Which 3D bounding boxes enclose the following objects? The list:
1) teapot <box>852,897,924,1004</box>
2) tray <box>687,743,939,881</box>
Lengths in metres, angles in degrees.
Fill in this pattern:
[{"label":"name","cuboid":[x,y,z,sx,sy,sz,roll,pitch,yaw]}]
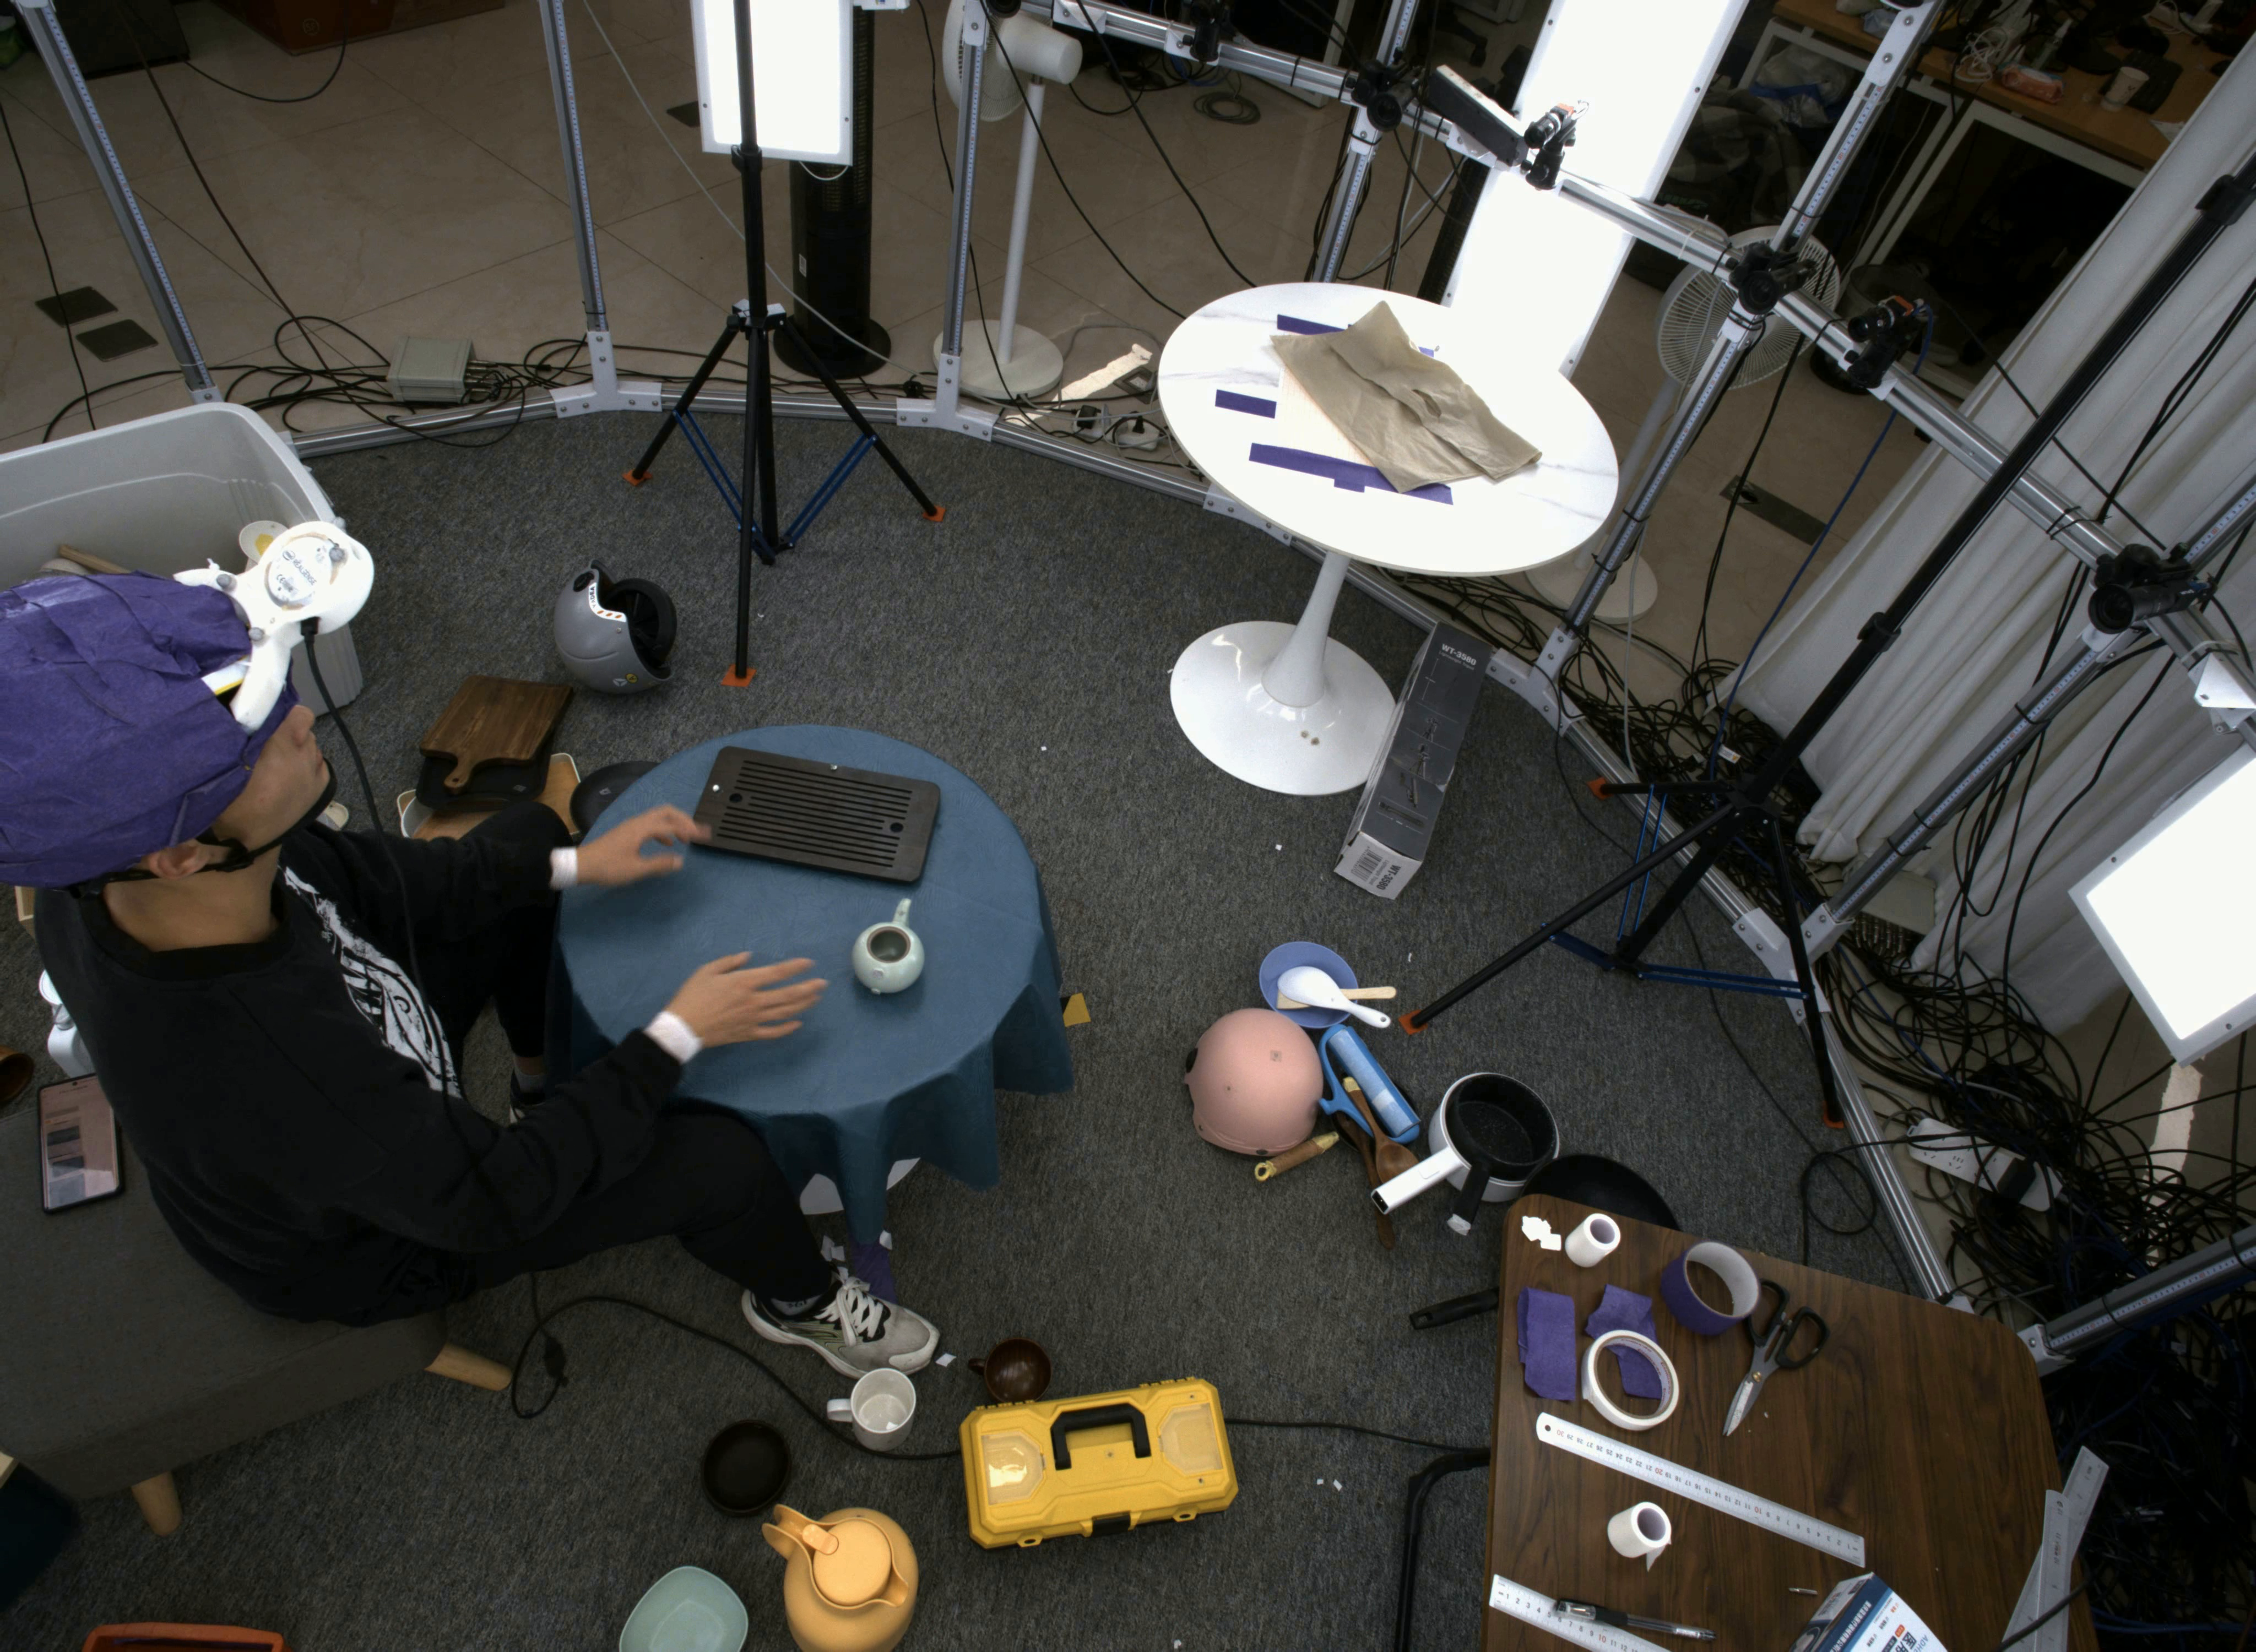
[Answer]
[{"label":"teapot","cuboid":[-0.294,0.158,1.590,0.087,0.076,0.142,17,50,1]},{"label":"tray","cuboid":[-0.414,-0.019,1.726,0.305,0.019,0.167,11,52,-7]}]
